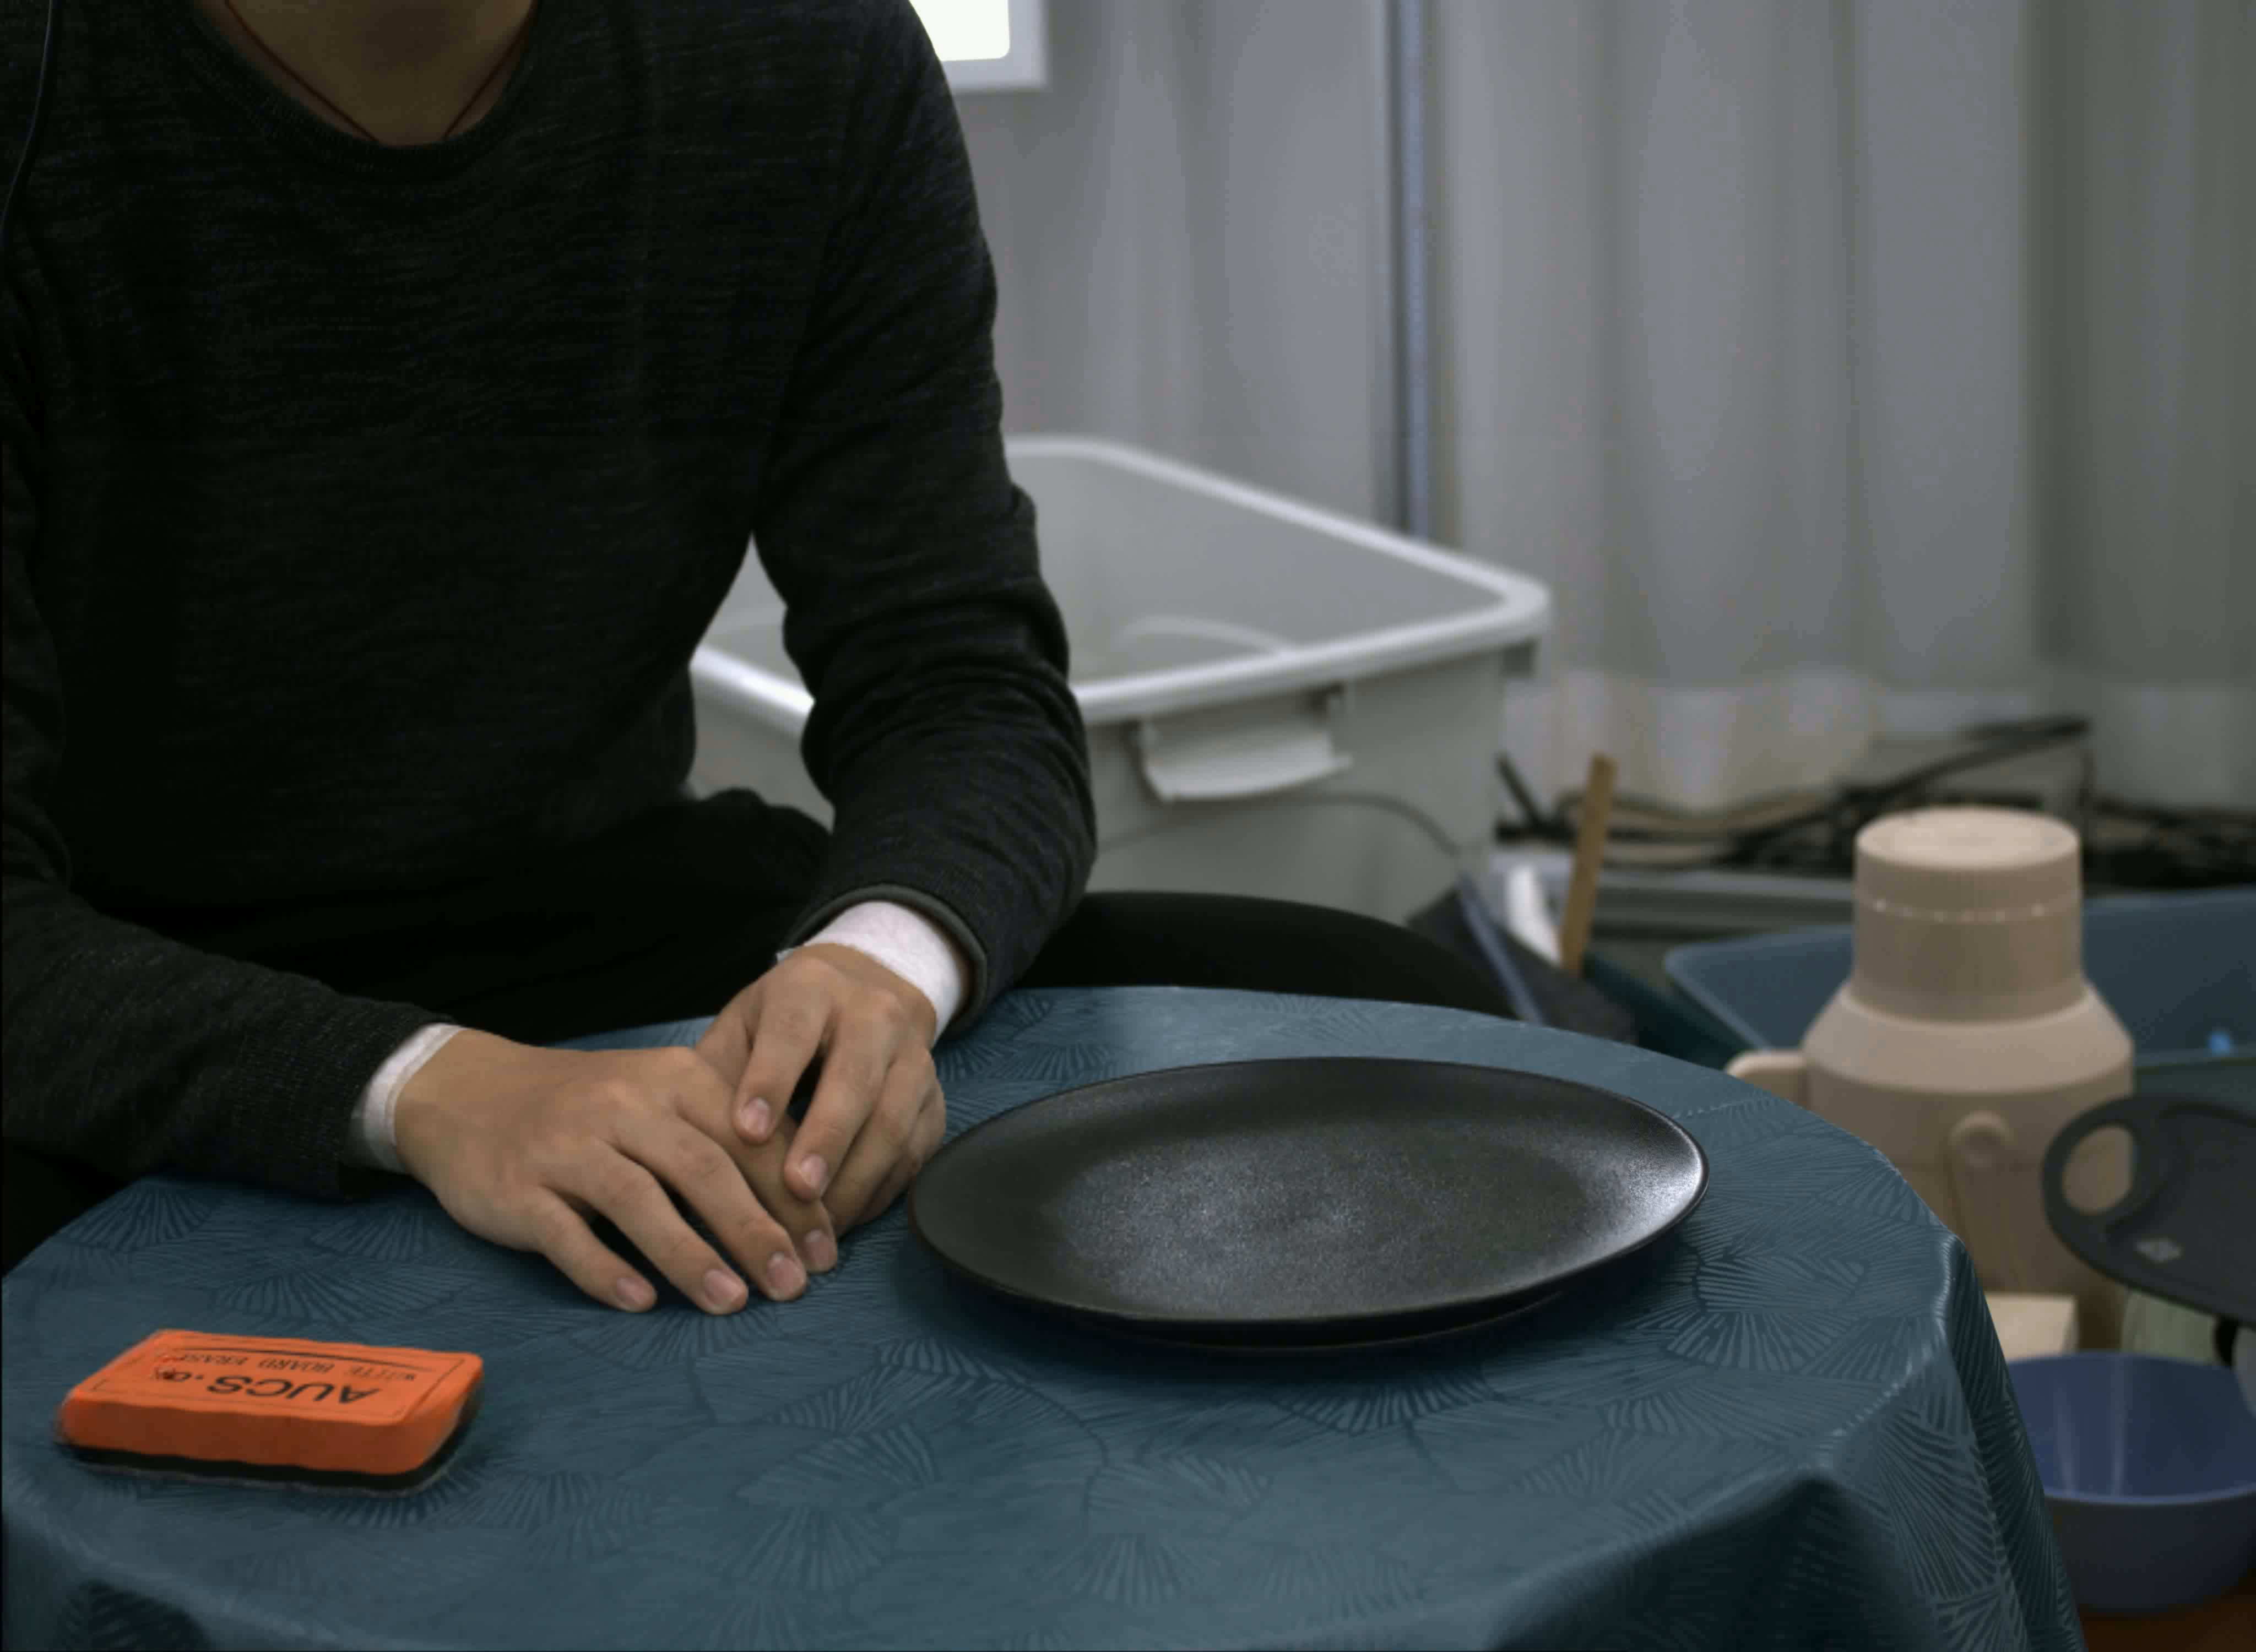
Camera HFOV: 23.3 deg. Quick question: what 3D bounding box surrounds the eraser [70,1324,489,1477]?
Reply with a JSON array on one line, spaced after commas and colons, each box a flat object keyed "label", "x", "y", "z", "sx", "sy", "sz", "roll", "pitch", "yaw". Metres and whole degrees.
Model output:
[{"label": "eraser", "x": -0.237, "y": 0.161, "z": 1.529, "sx": 0.108, "sy": 0.023, "sz": 0.059, "roll": 1, "pitch": 13, "yaw": 21}]

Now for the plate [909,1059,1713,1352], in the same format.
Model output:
[{"label": "plate", "x": 0.055, "y": 0.116, "z": 1.652, "sx": 0.243, "sy": 0.023, "sz": 0.246, "roll": -3, "pitch": 15, "yaw": 1}]
